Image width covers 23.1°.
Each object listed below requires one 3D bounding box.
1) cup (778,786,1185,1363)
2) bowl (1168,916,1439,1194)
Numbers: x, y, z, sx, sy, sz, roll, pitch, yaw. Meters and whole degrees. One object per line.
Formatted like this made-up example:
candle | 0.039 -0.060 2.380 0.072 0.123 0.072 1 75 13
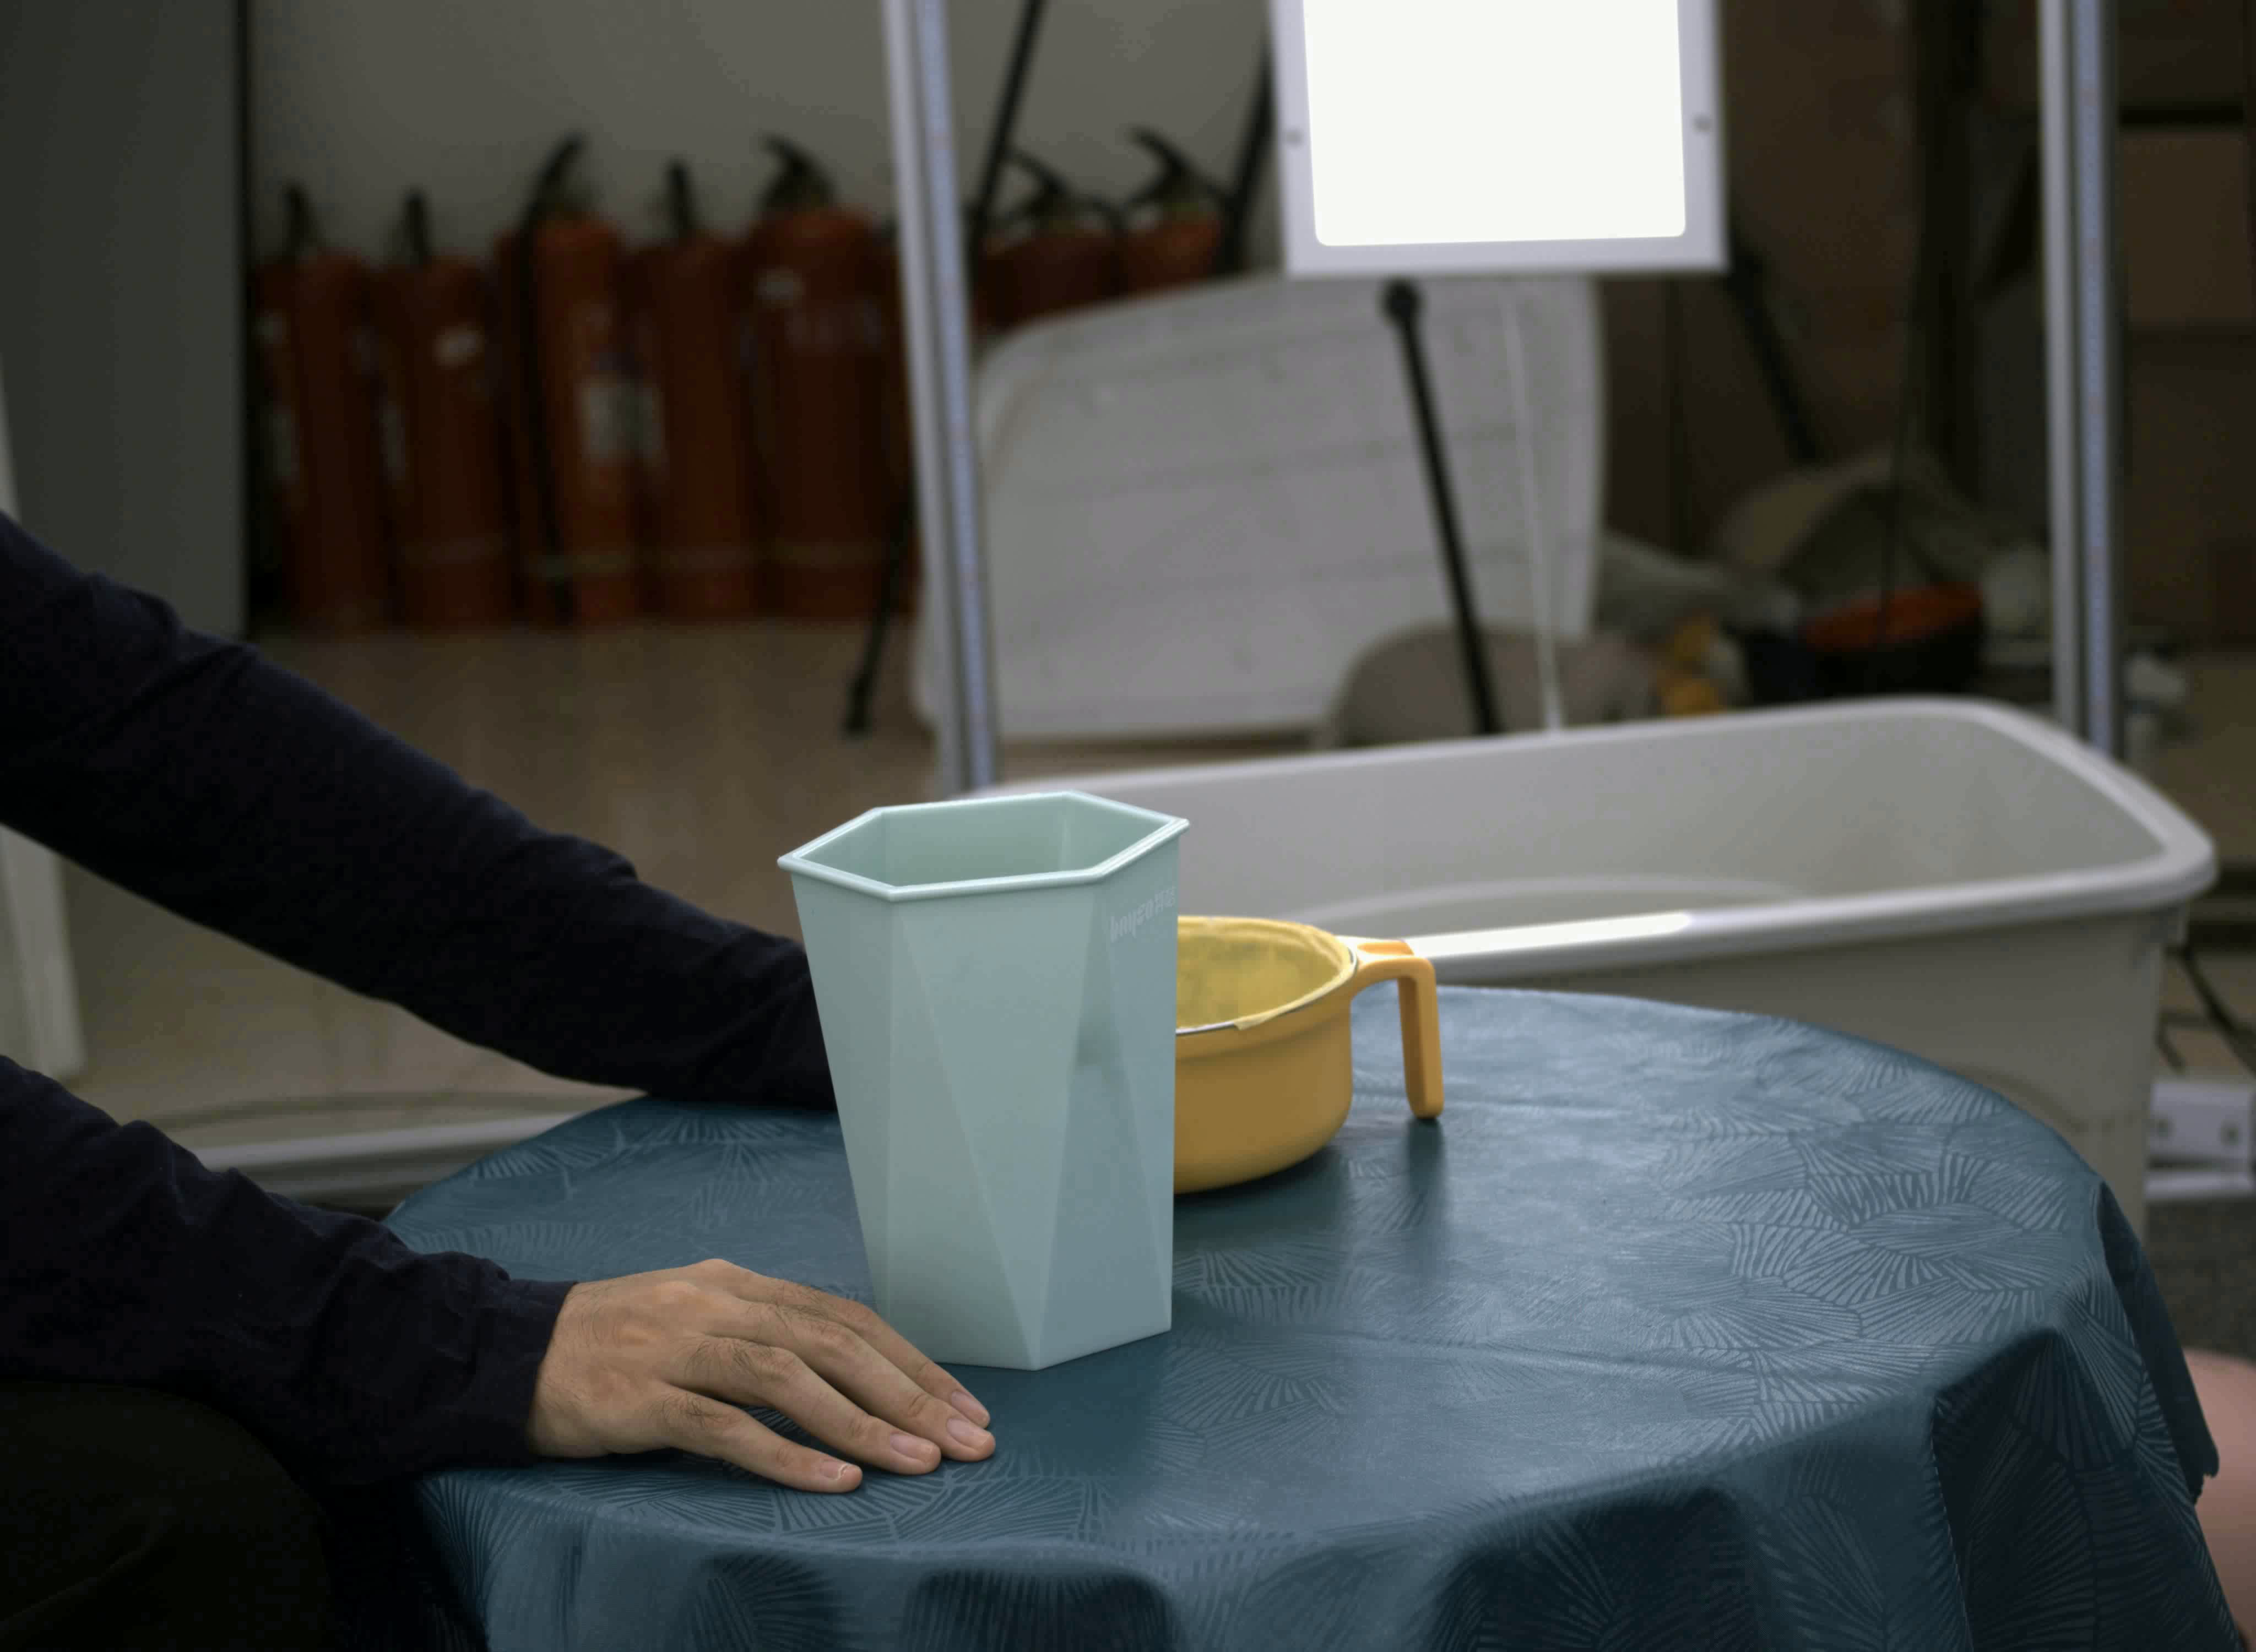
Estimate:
cup | -0.039 0.079 1.758 0.117 0.163 0.128 1 14 25
bowl | 0.019 0.081 1.932 0.177 0.074 0.154 -10 10 -12
